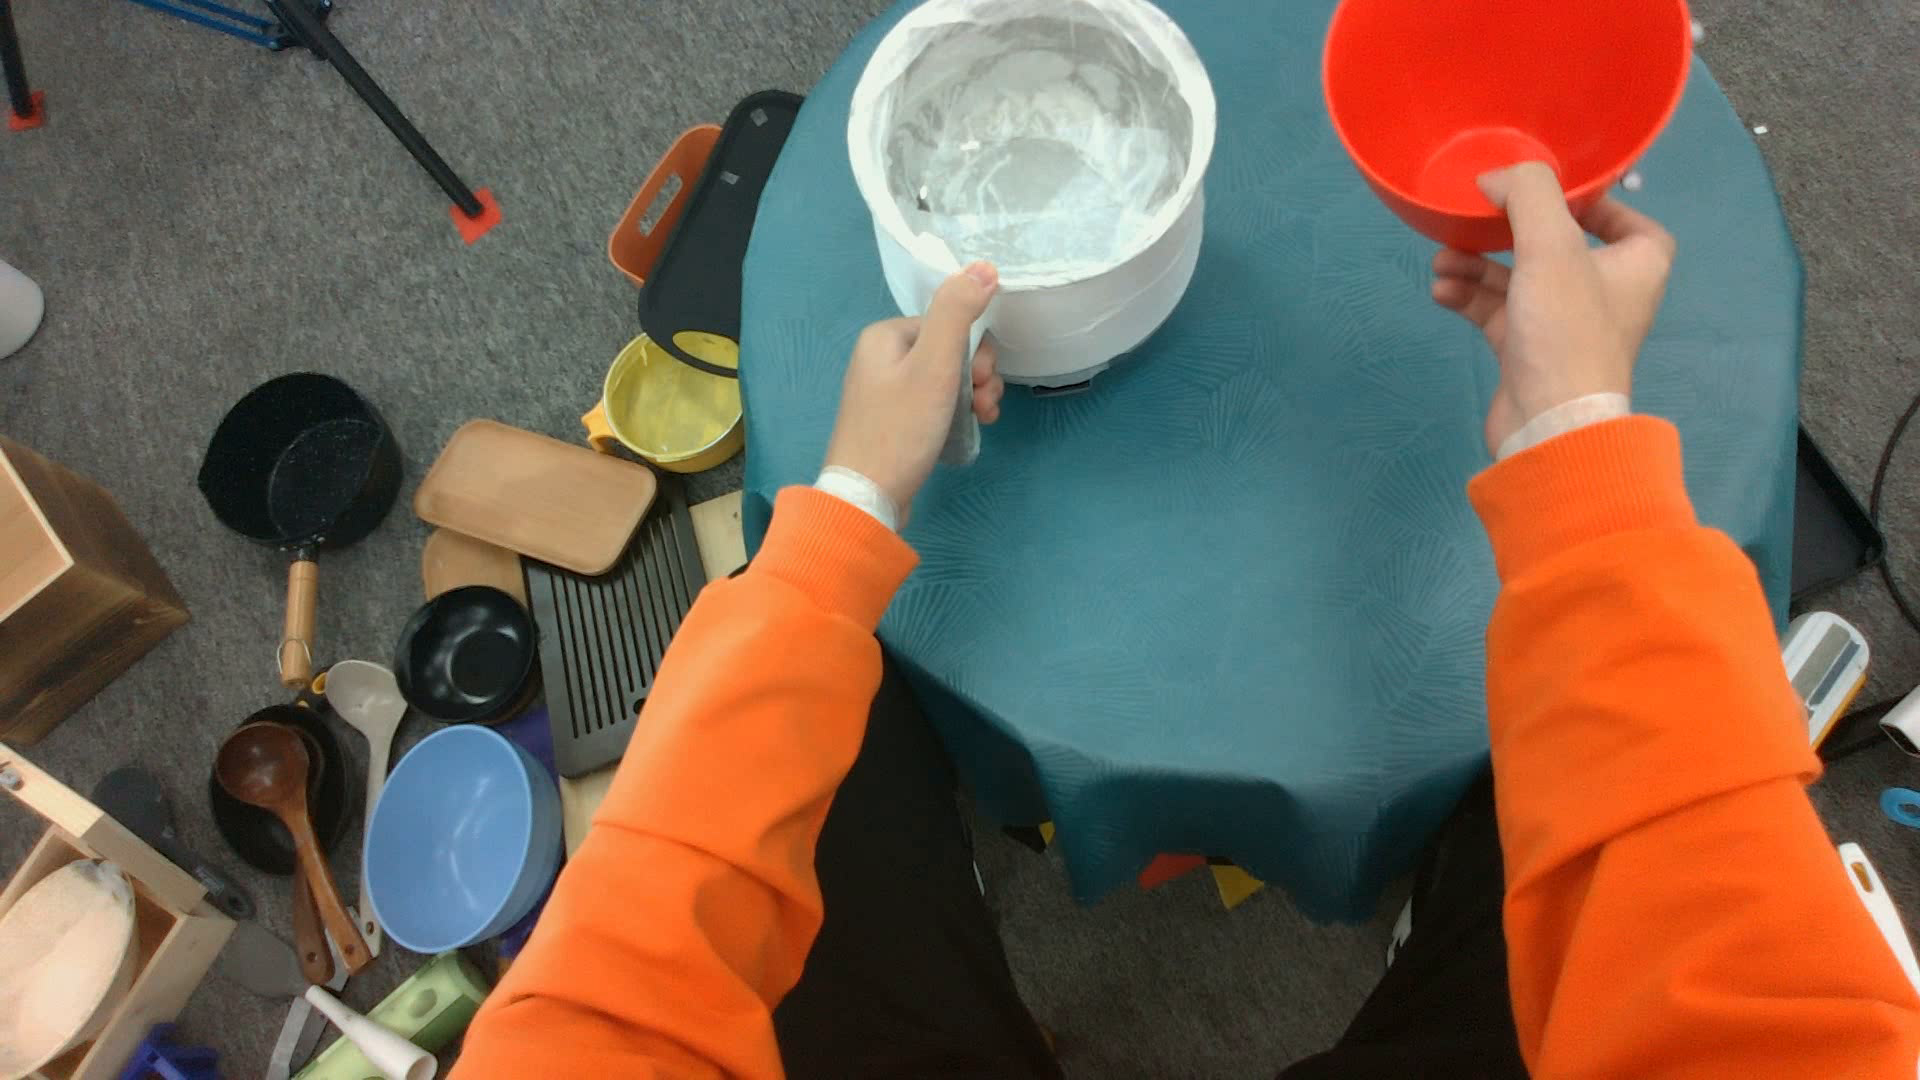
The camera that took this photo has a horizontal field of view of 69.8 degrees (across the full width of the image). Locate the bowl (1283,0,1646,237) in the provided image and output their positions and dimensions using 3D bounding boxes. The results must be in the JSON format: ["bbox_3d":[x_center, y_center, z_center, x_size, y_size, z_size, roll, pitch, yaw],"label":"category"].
[{"bbox_3d":[0.227,-0.205,0.628,0.148,0.104,0.148,-6,71,17],"label":"bowl"}]

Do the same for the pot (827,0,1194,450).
[{"bbox_3d":[0.019,-0.165,0.714,0.178,0.136,0.234,19,75,11],"label":"pot"}]
